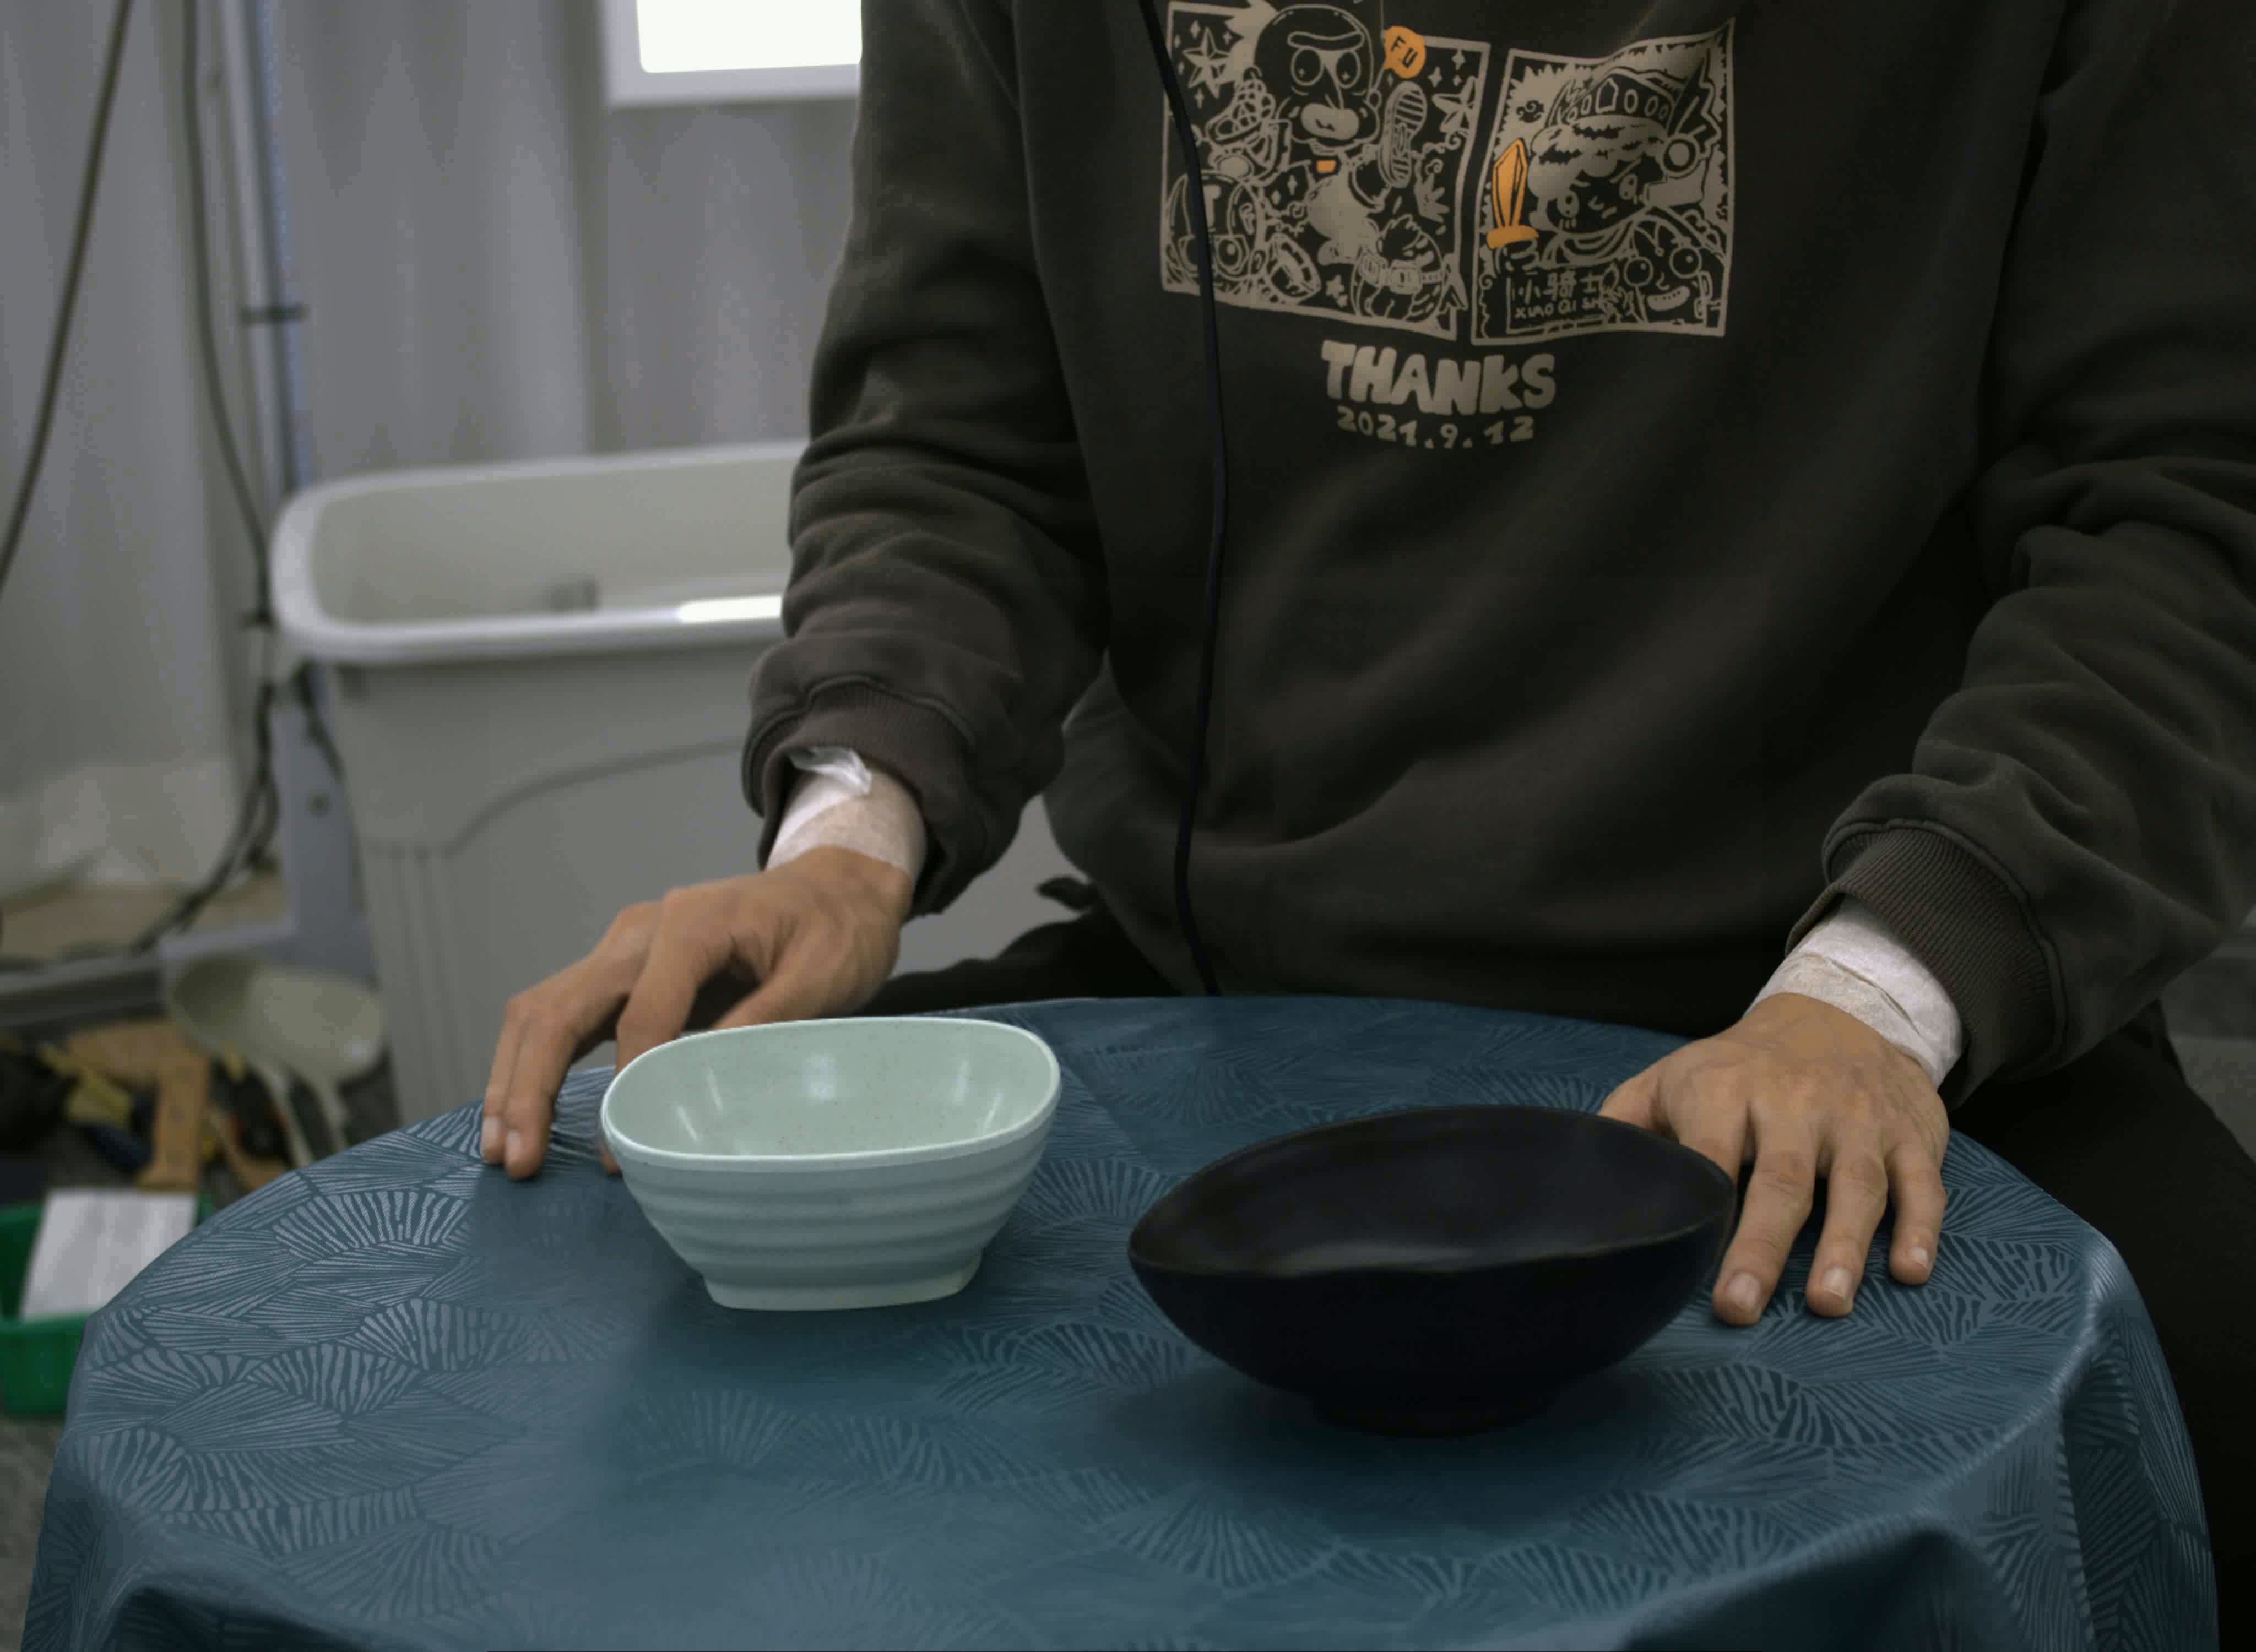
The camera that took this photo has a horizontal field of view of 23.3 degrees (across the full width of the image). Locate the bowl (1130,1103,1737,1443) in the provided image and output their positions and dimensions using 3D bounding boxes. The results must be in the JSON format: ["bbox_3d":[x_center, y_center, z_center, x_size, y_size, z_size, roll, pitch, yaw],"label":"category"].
[{"bbox_3d":[0.086,0.131,1.526,0.170,0.066,0.138,-4,15,0],"label":"bowl"}]

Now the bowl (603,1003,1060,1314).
[{"bbox_3d":[-0.088,0.105,1.663,0.151,0.058,0.152,-4,18,1],"label":"bowl"}]
